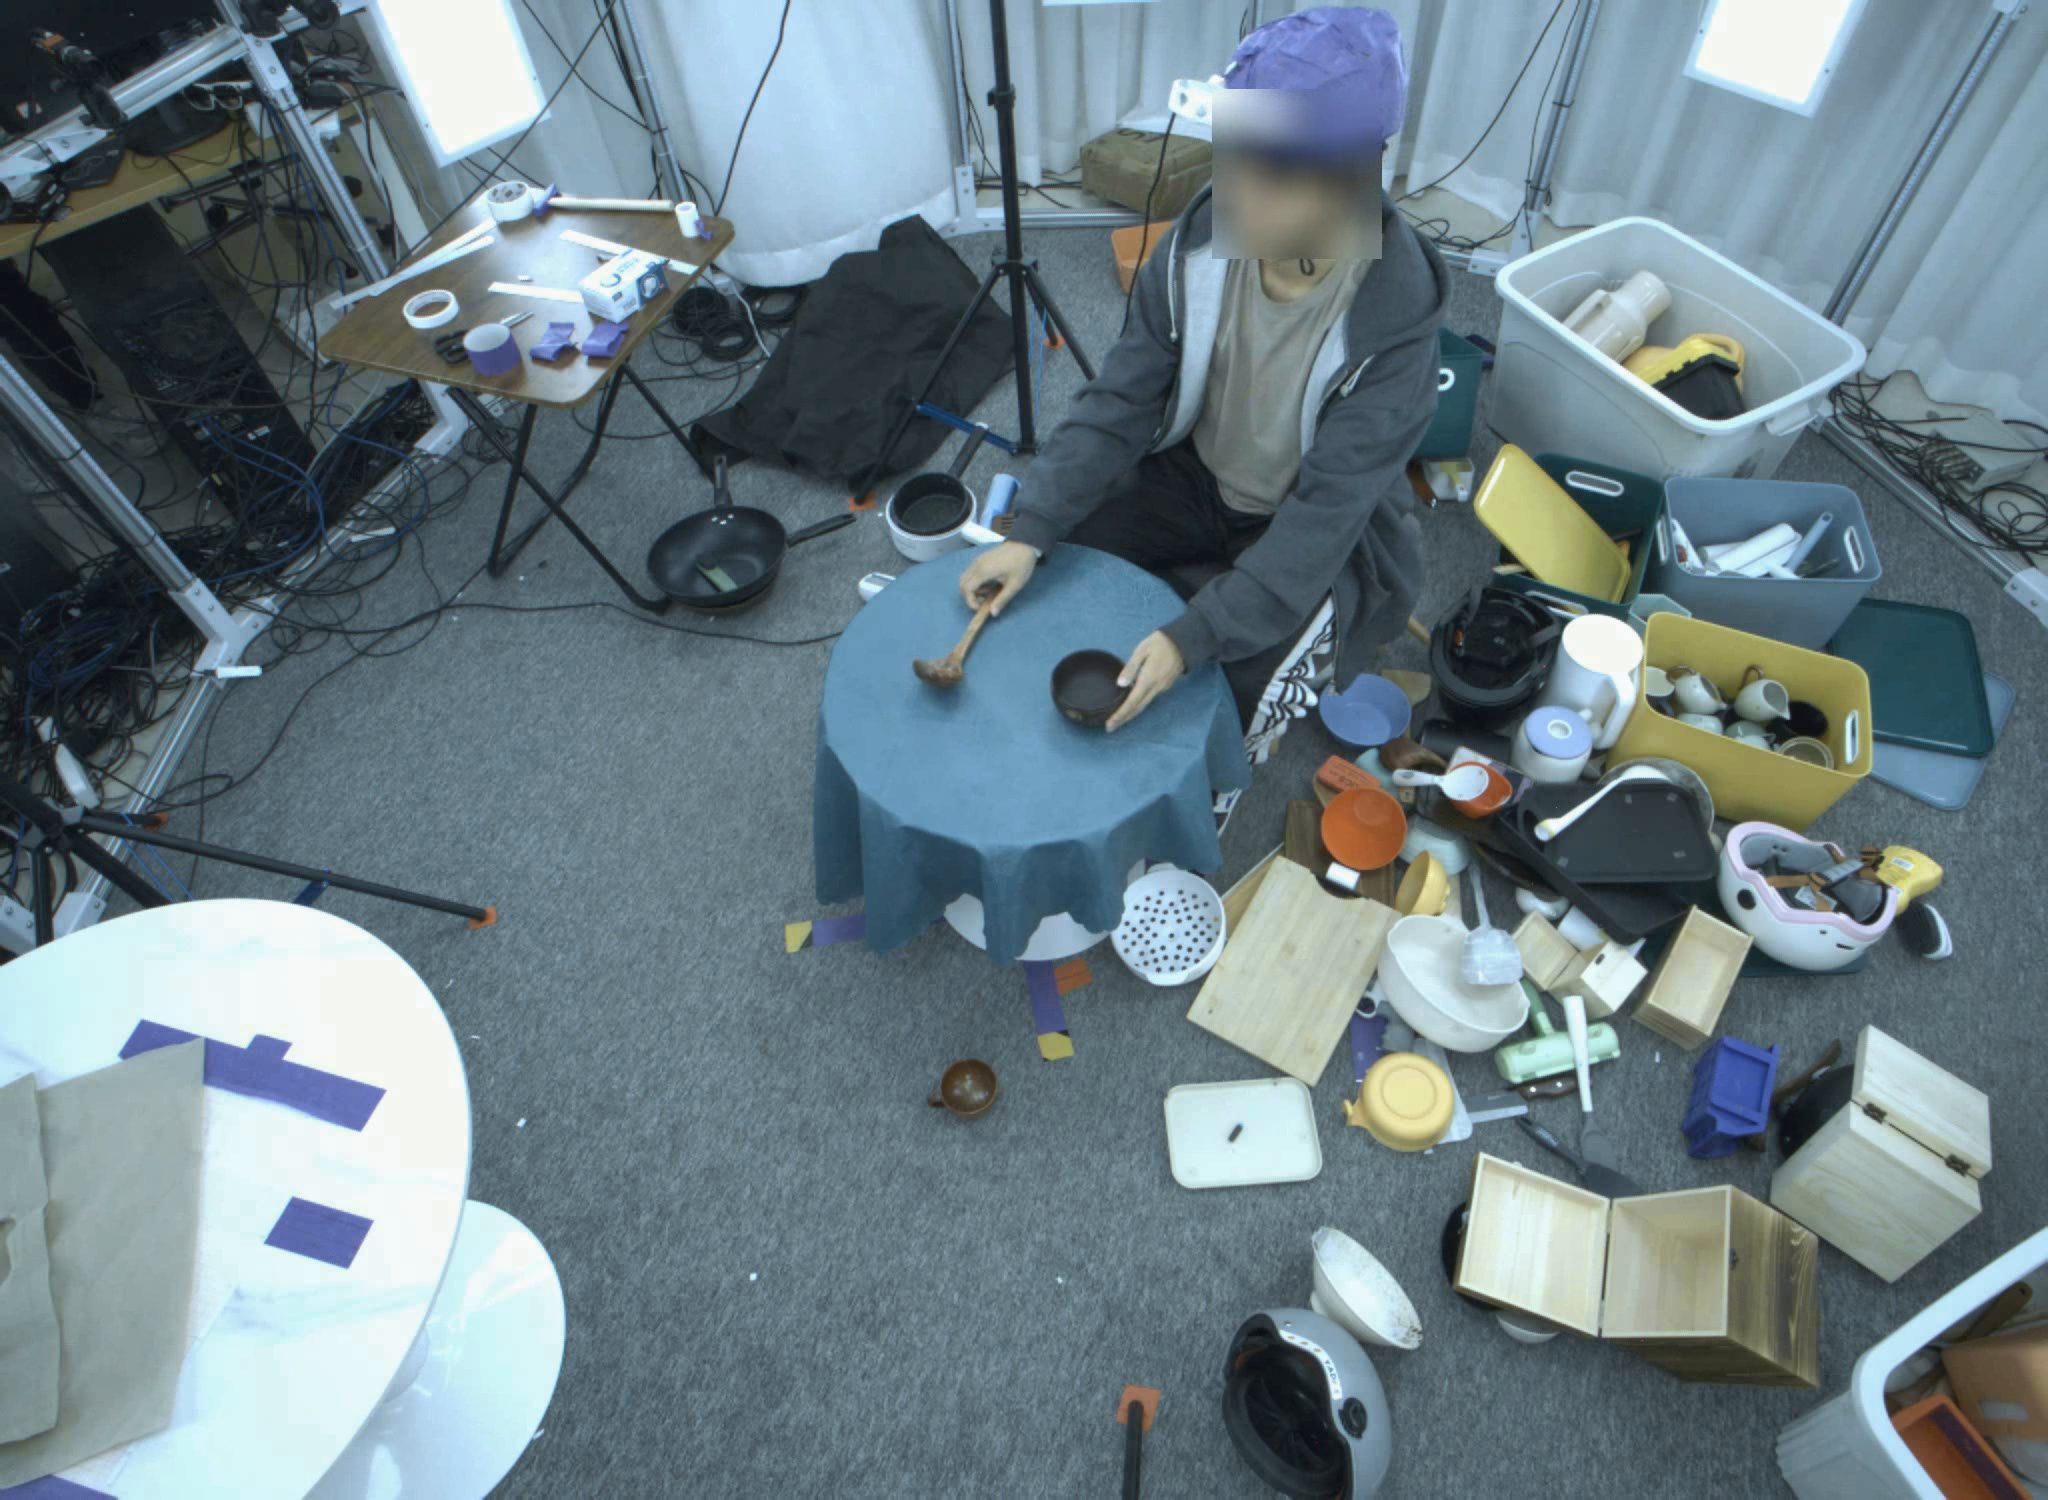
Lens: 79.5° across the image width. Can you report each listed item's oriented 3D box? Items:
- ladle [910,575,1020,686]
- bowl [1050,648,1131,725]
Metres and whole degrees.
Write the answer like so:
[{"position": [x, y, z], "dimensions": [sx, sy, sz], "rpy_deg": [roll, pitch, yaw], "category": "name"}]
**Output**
[{"position": [-0.083, -0.198, 1.885], "dimensions": [0.081, 0.077, 0.274], "rpy_deg": [23, 59, 14], "category": "ladle"}, {"position": [0.098, -0.085, 1.801], "dimensions": [0.118, 0.070, 0.117], "rpy_deg": [-1, 54, 3], "category": "bowl"}]
